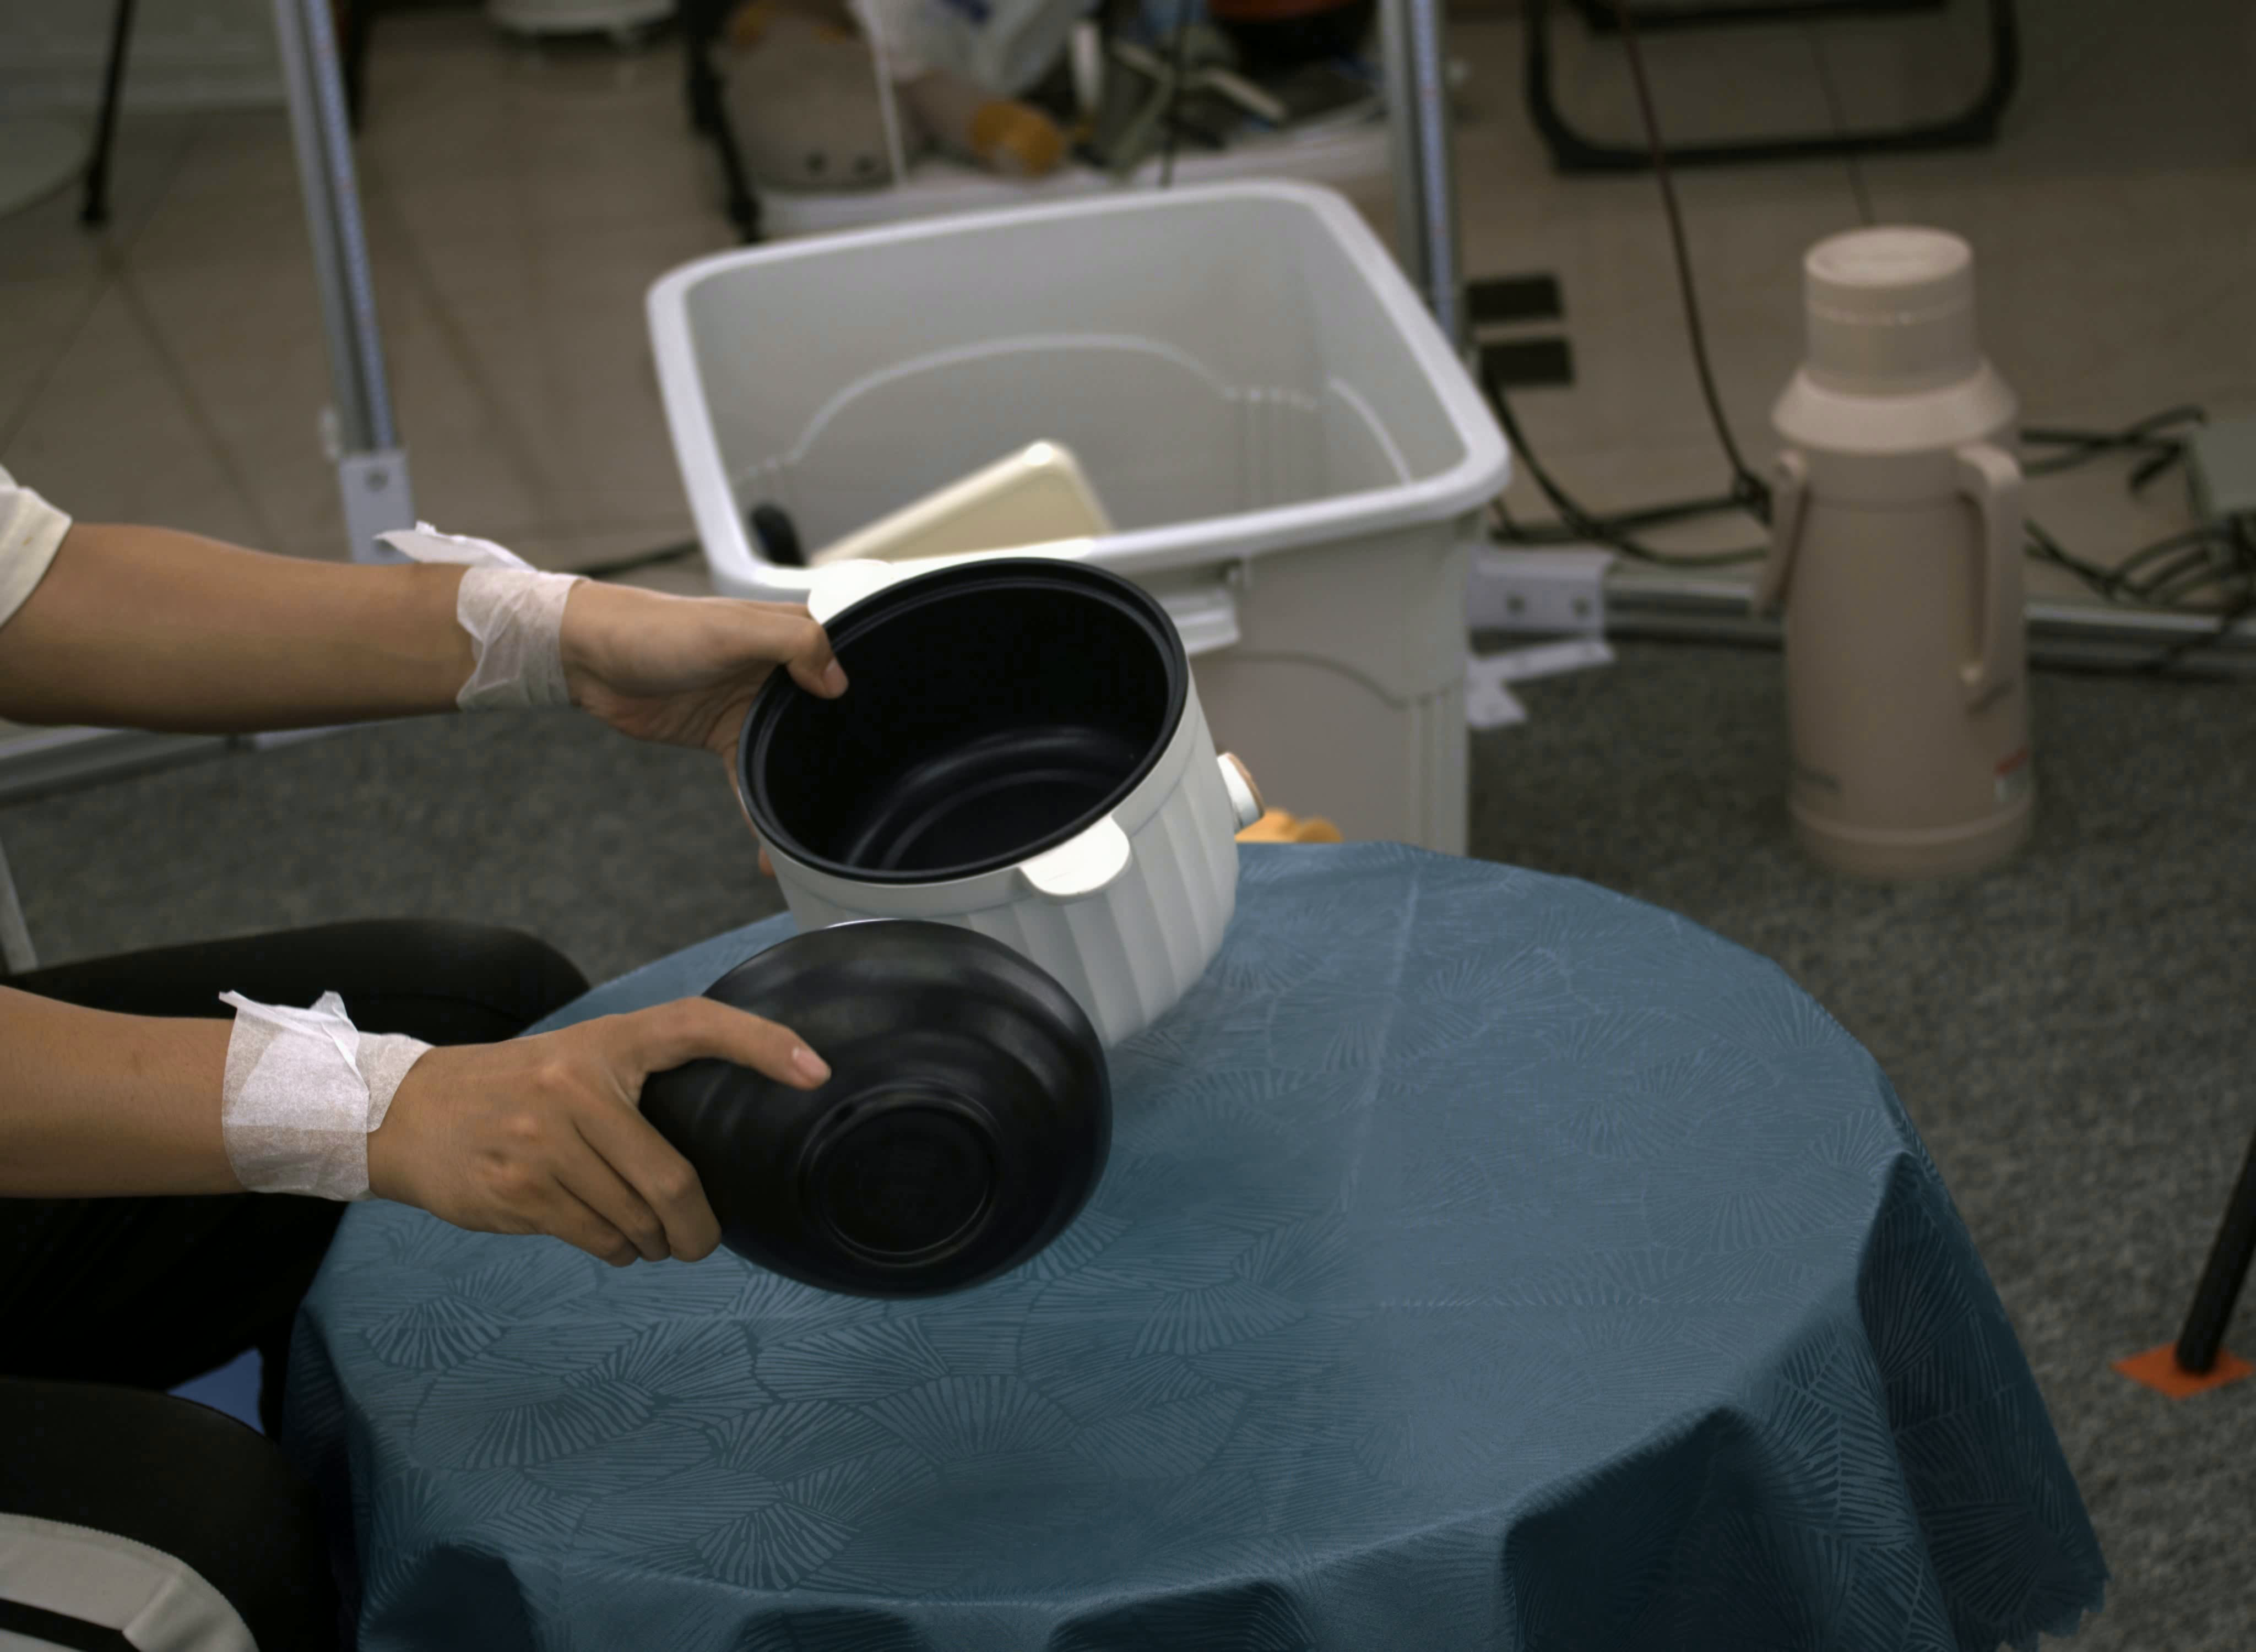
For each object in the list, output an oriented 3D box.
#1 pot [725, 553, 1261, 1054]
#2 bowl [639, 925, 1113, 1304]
[{"bbox_3d":[-0.046,-0.001,2.229,0.190,0.145,0.237,-32,45,-9],"label":"pot"},{"bbox_3d":[-0.079,0.107,1.911,0.171,0.139,0.066,14,21,-23],"label":"bowl"}]
